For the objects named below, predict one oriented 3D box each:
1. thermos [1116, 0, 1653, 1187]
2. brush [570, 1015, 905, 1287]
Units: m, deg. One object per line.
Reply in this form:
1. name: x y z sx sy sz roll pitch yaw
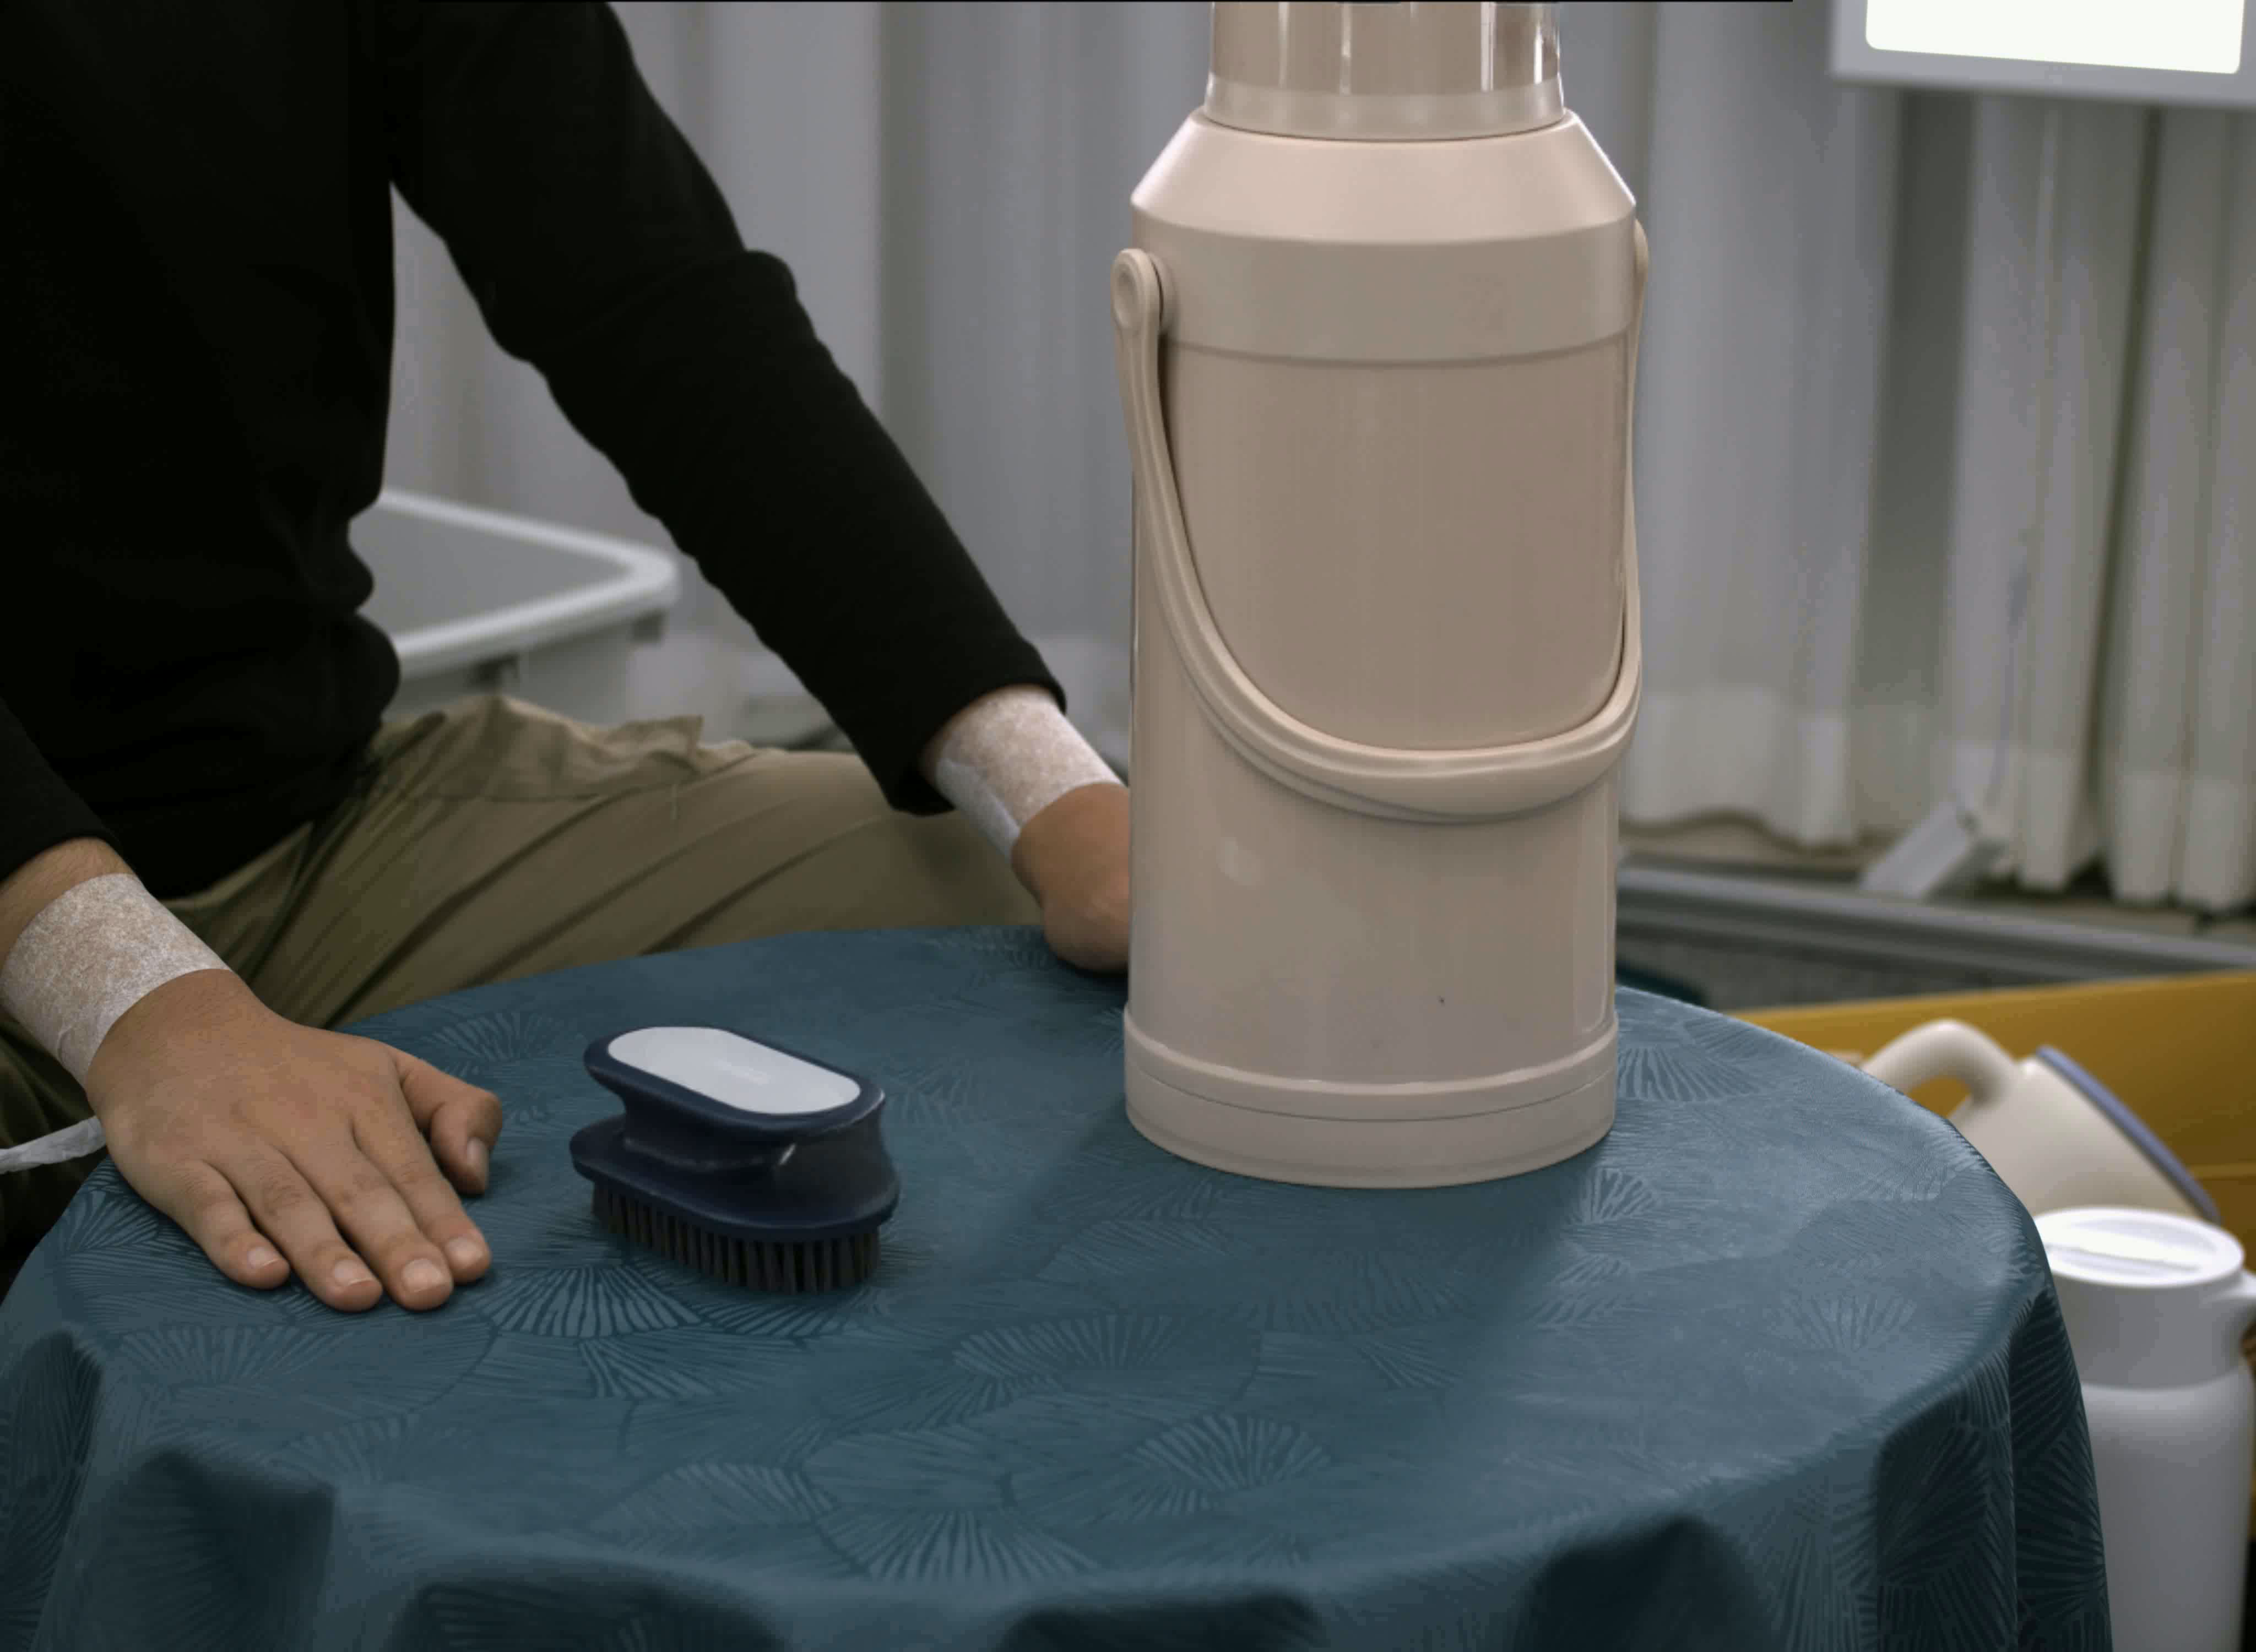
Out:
1. thermos: 0.075 -0.104 1.657 0.176 0.410 0.204 -9 19 -24
2. brush: -0.117 0.098 1.565 0.068 0.061 0.120 -9 19 -39
